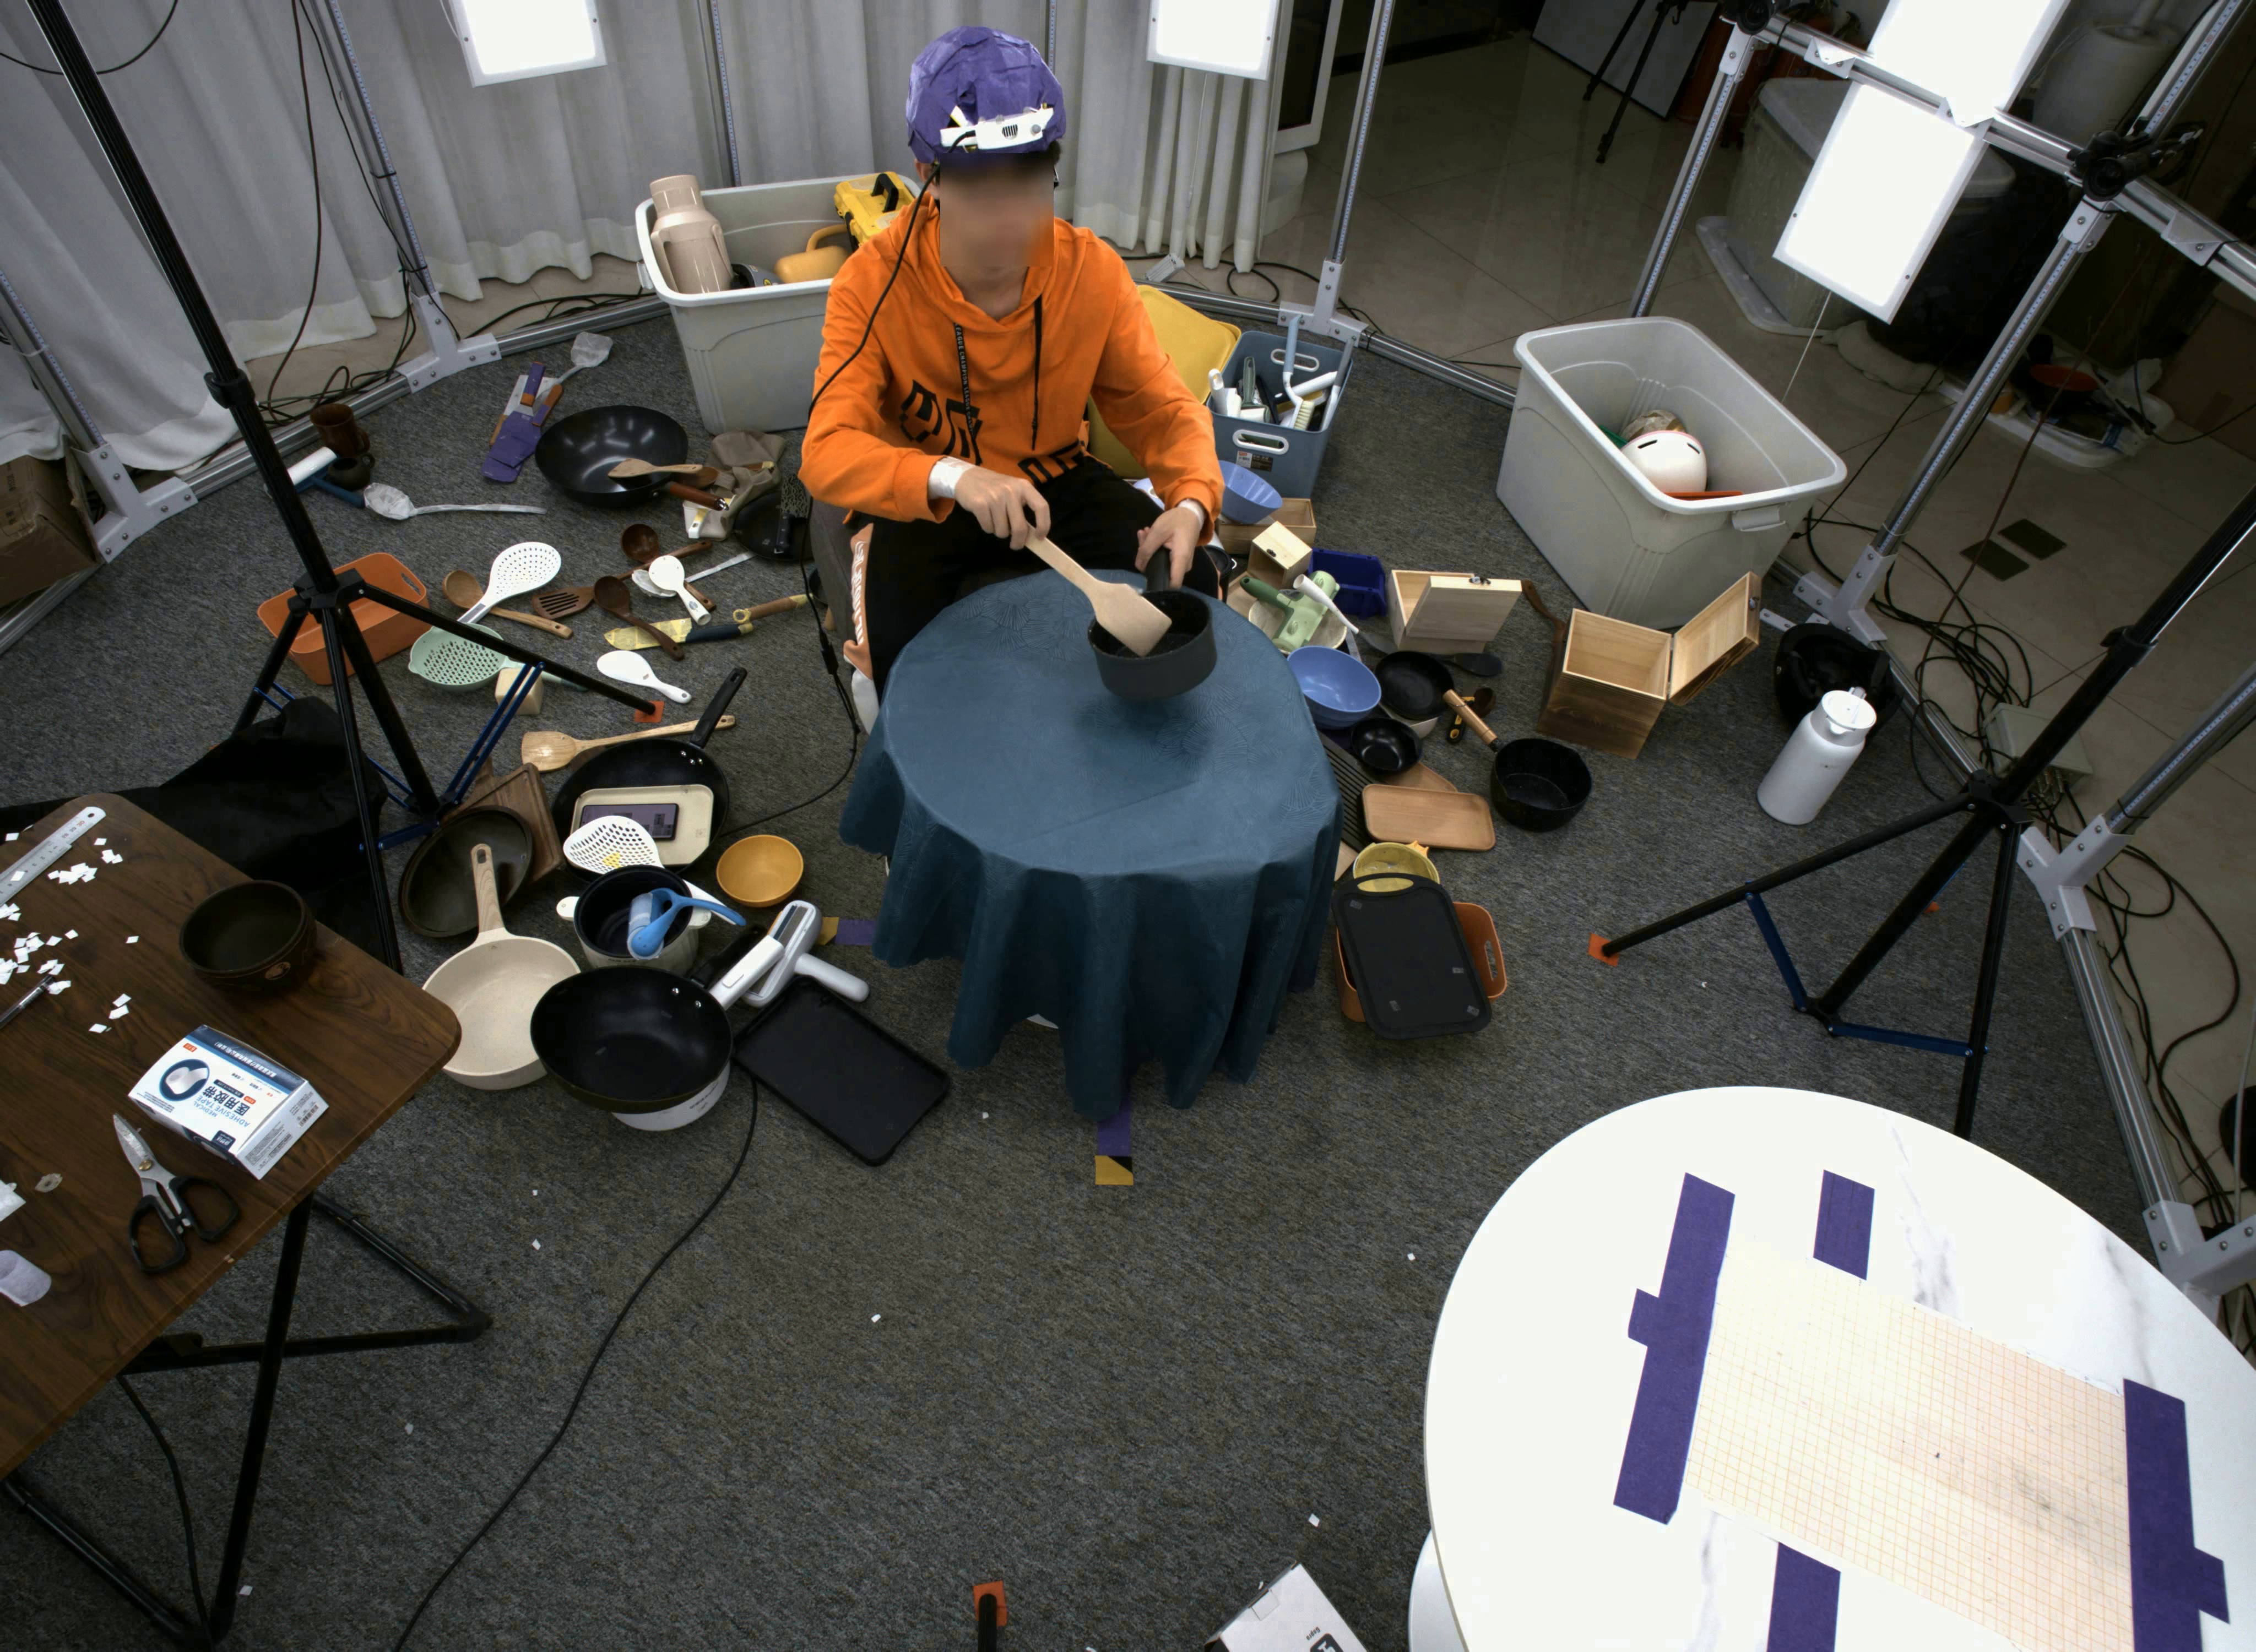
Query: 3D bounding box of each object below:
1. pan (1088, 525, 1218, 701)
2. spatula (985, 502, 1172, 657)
[{"bbox_3d":[0.045,-0.302,1.809,0.172,0.084,0.336,-3,42,13],"label":"pan"},{"bbox_3d":[-0.072,-0.339,1.737,0.292,0.071,0.011,38,29,-1],"label":"spatula"}]
